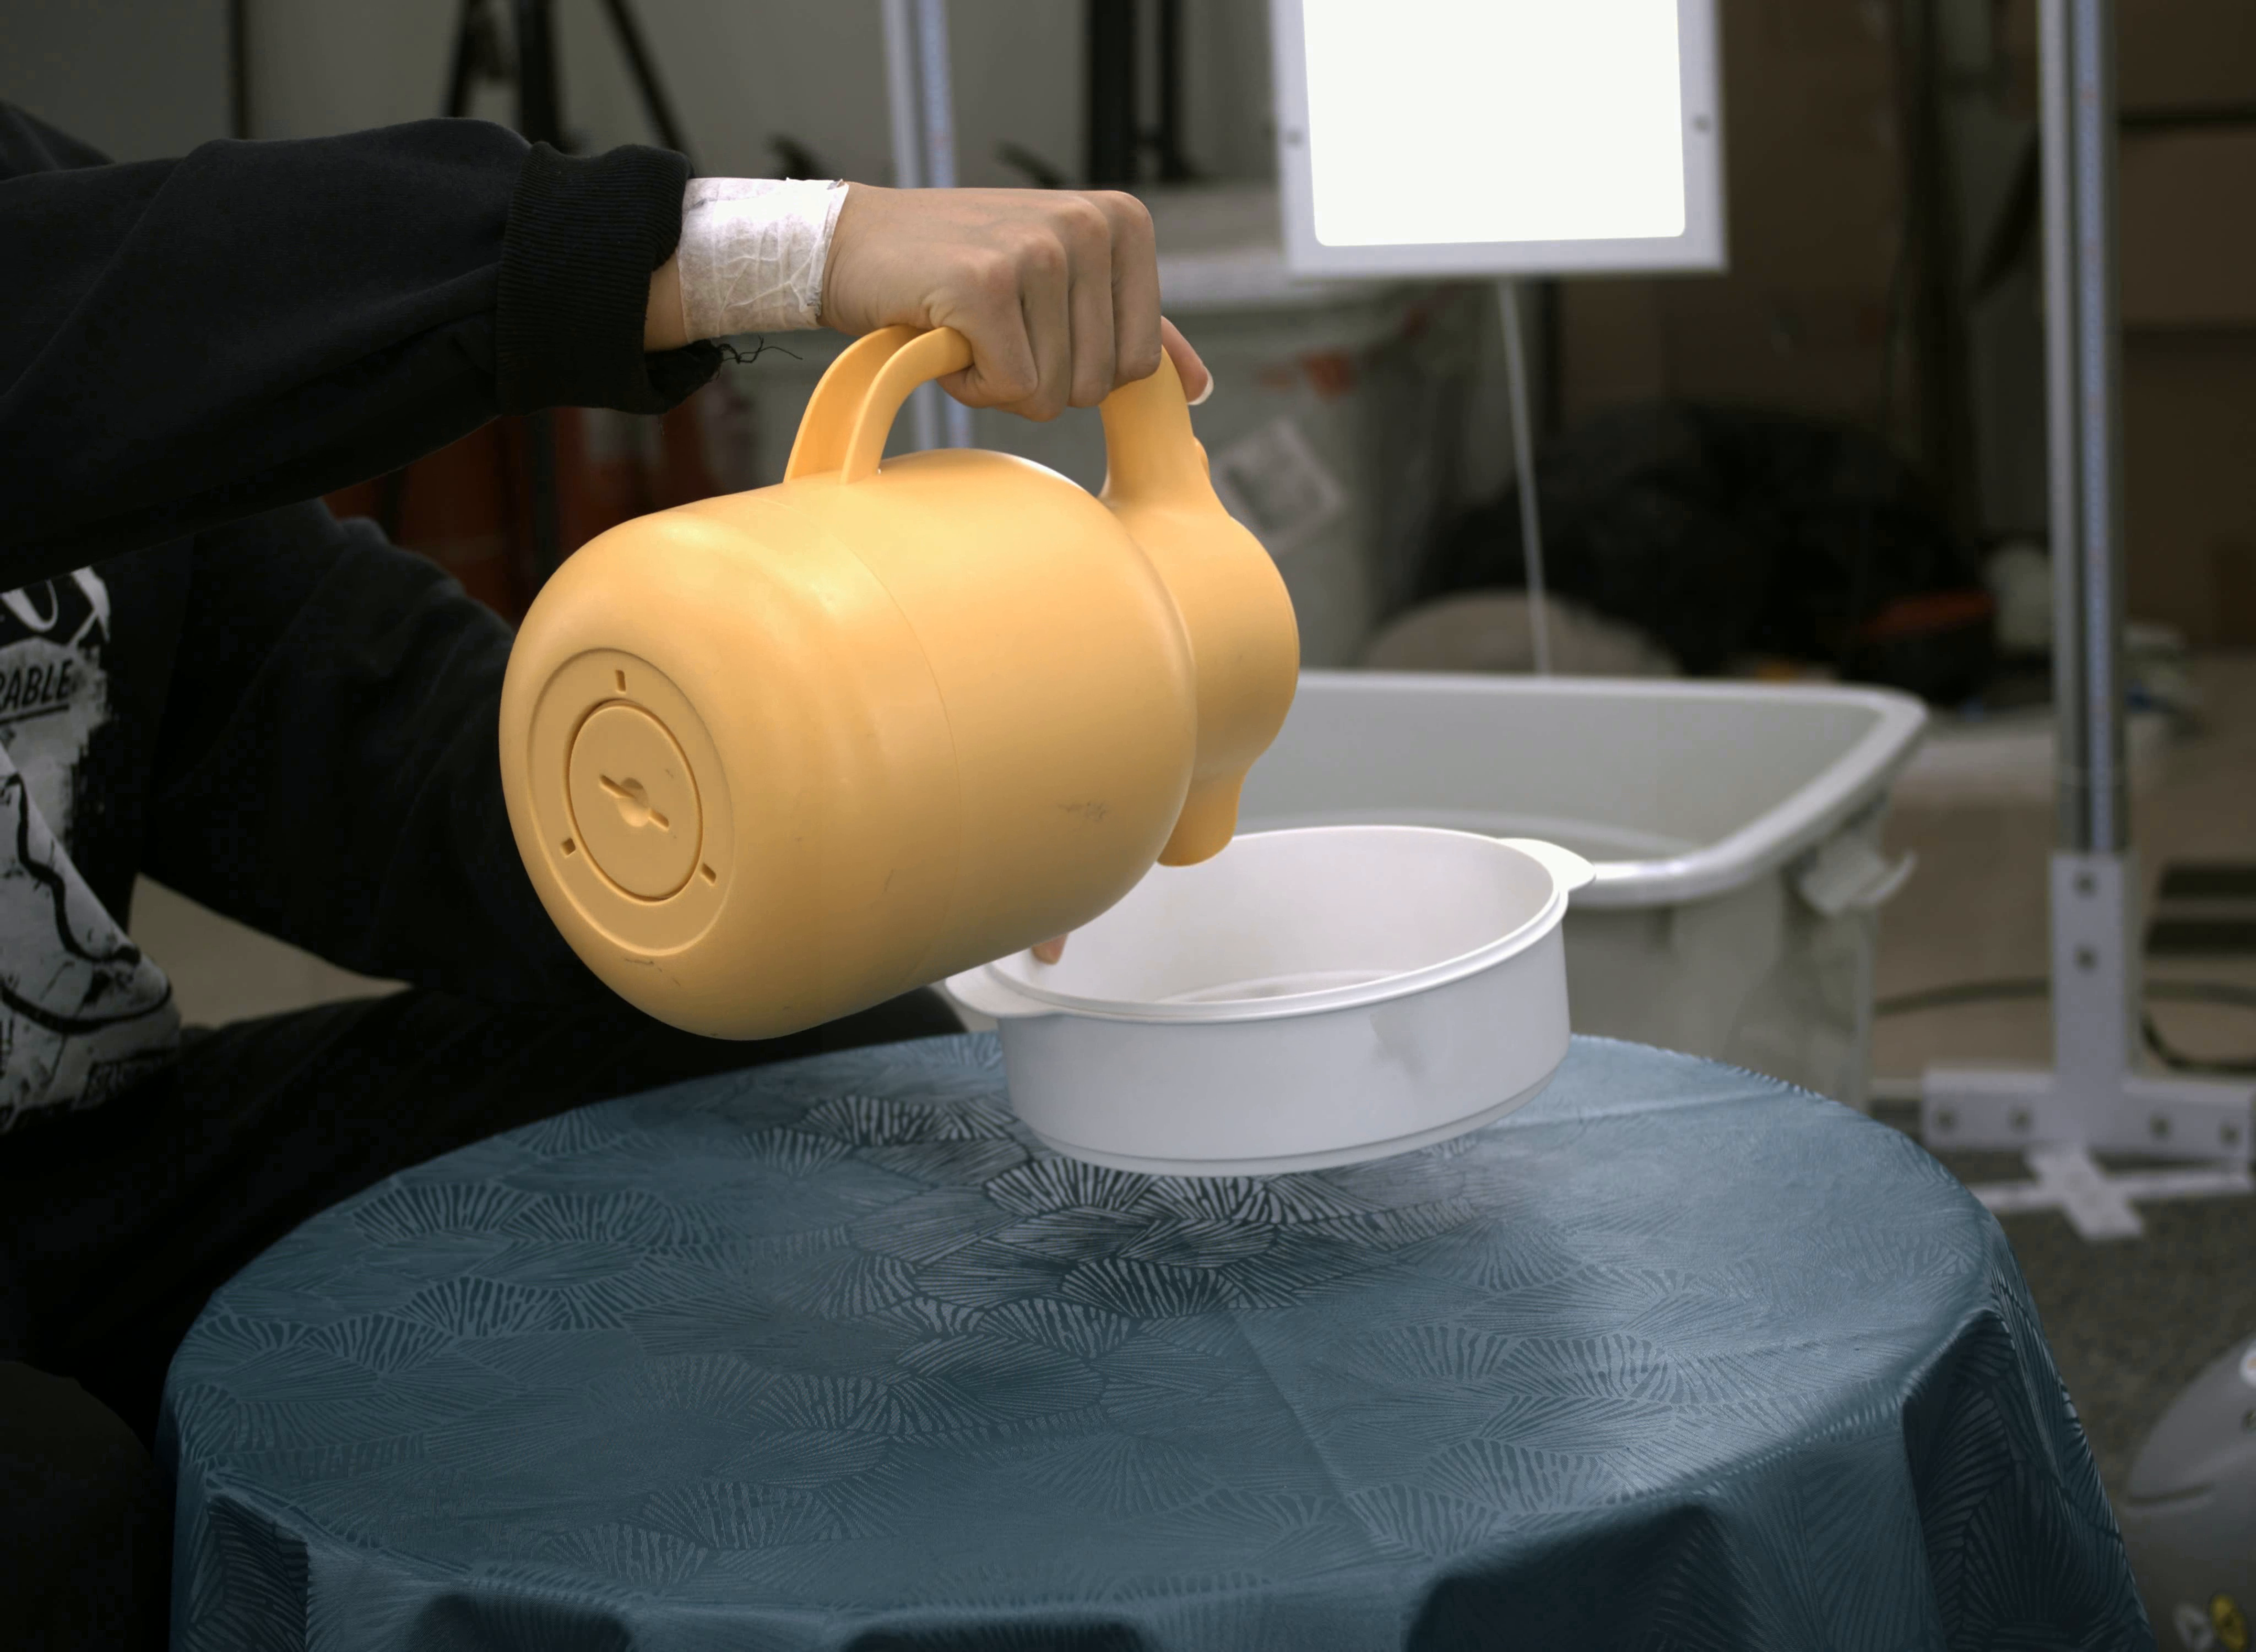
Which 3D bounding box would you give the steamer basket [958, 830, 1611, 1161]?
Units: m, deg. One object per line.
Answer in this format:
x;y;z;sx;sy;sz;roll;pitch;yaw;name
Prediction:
0.057;0.058;1.873;0.226;0.069;0.204;-10;15;-19;steamer basket

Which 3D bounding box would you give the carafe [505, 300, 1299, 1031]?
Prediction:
-0.062;-0.057;1.719;0.167;0.203;0.254;1;13;44;carafe
